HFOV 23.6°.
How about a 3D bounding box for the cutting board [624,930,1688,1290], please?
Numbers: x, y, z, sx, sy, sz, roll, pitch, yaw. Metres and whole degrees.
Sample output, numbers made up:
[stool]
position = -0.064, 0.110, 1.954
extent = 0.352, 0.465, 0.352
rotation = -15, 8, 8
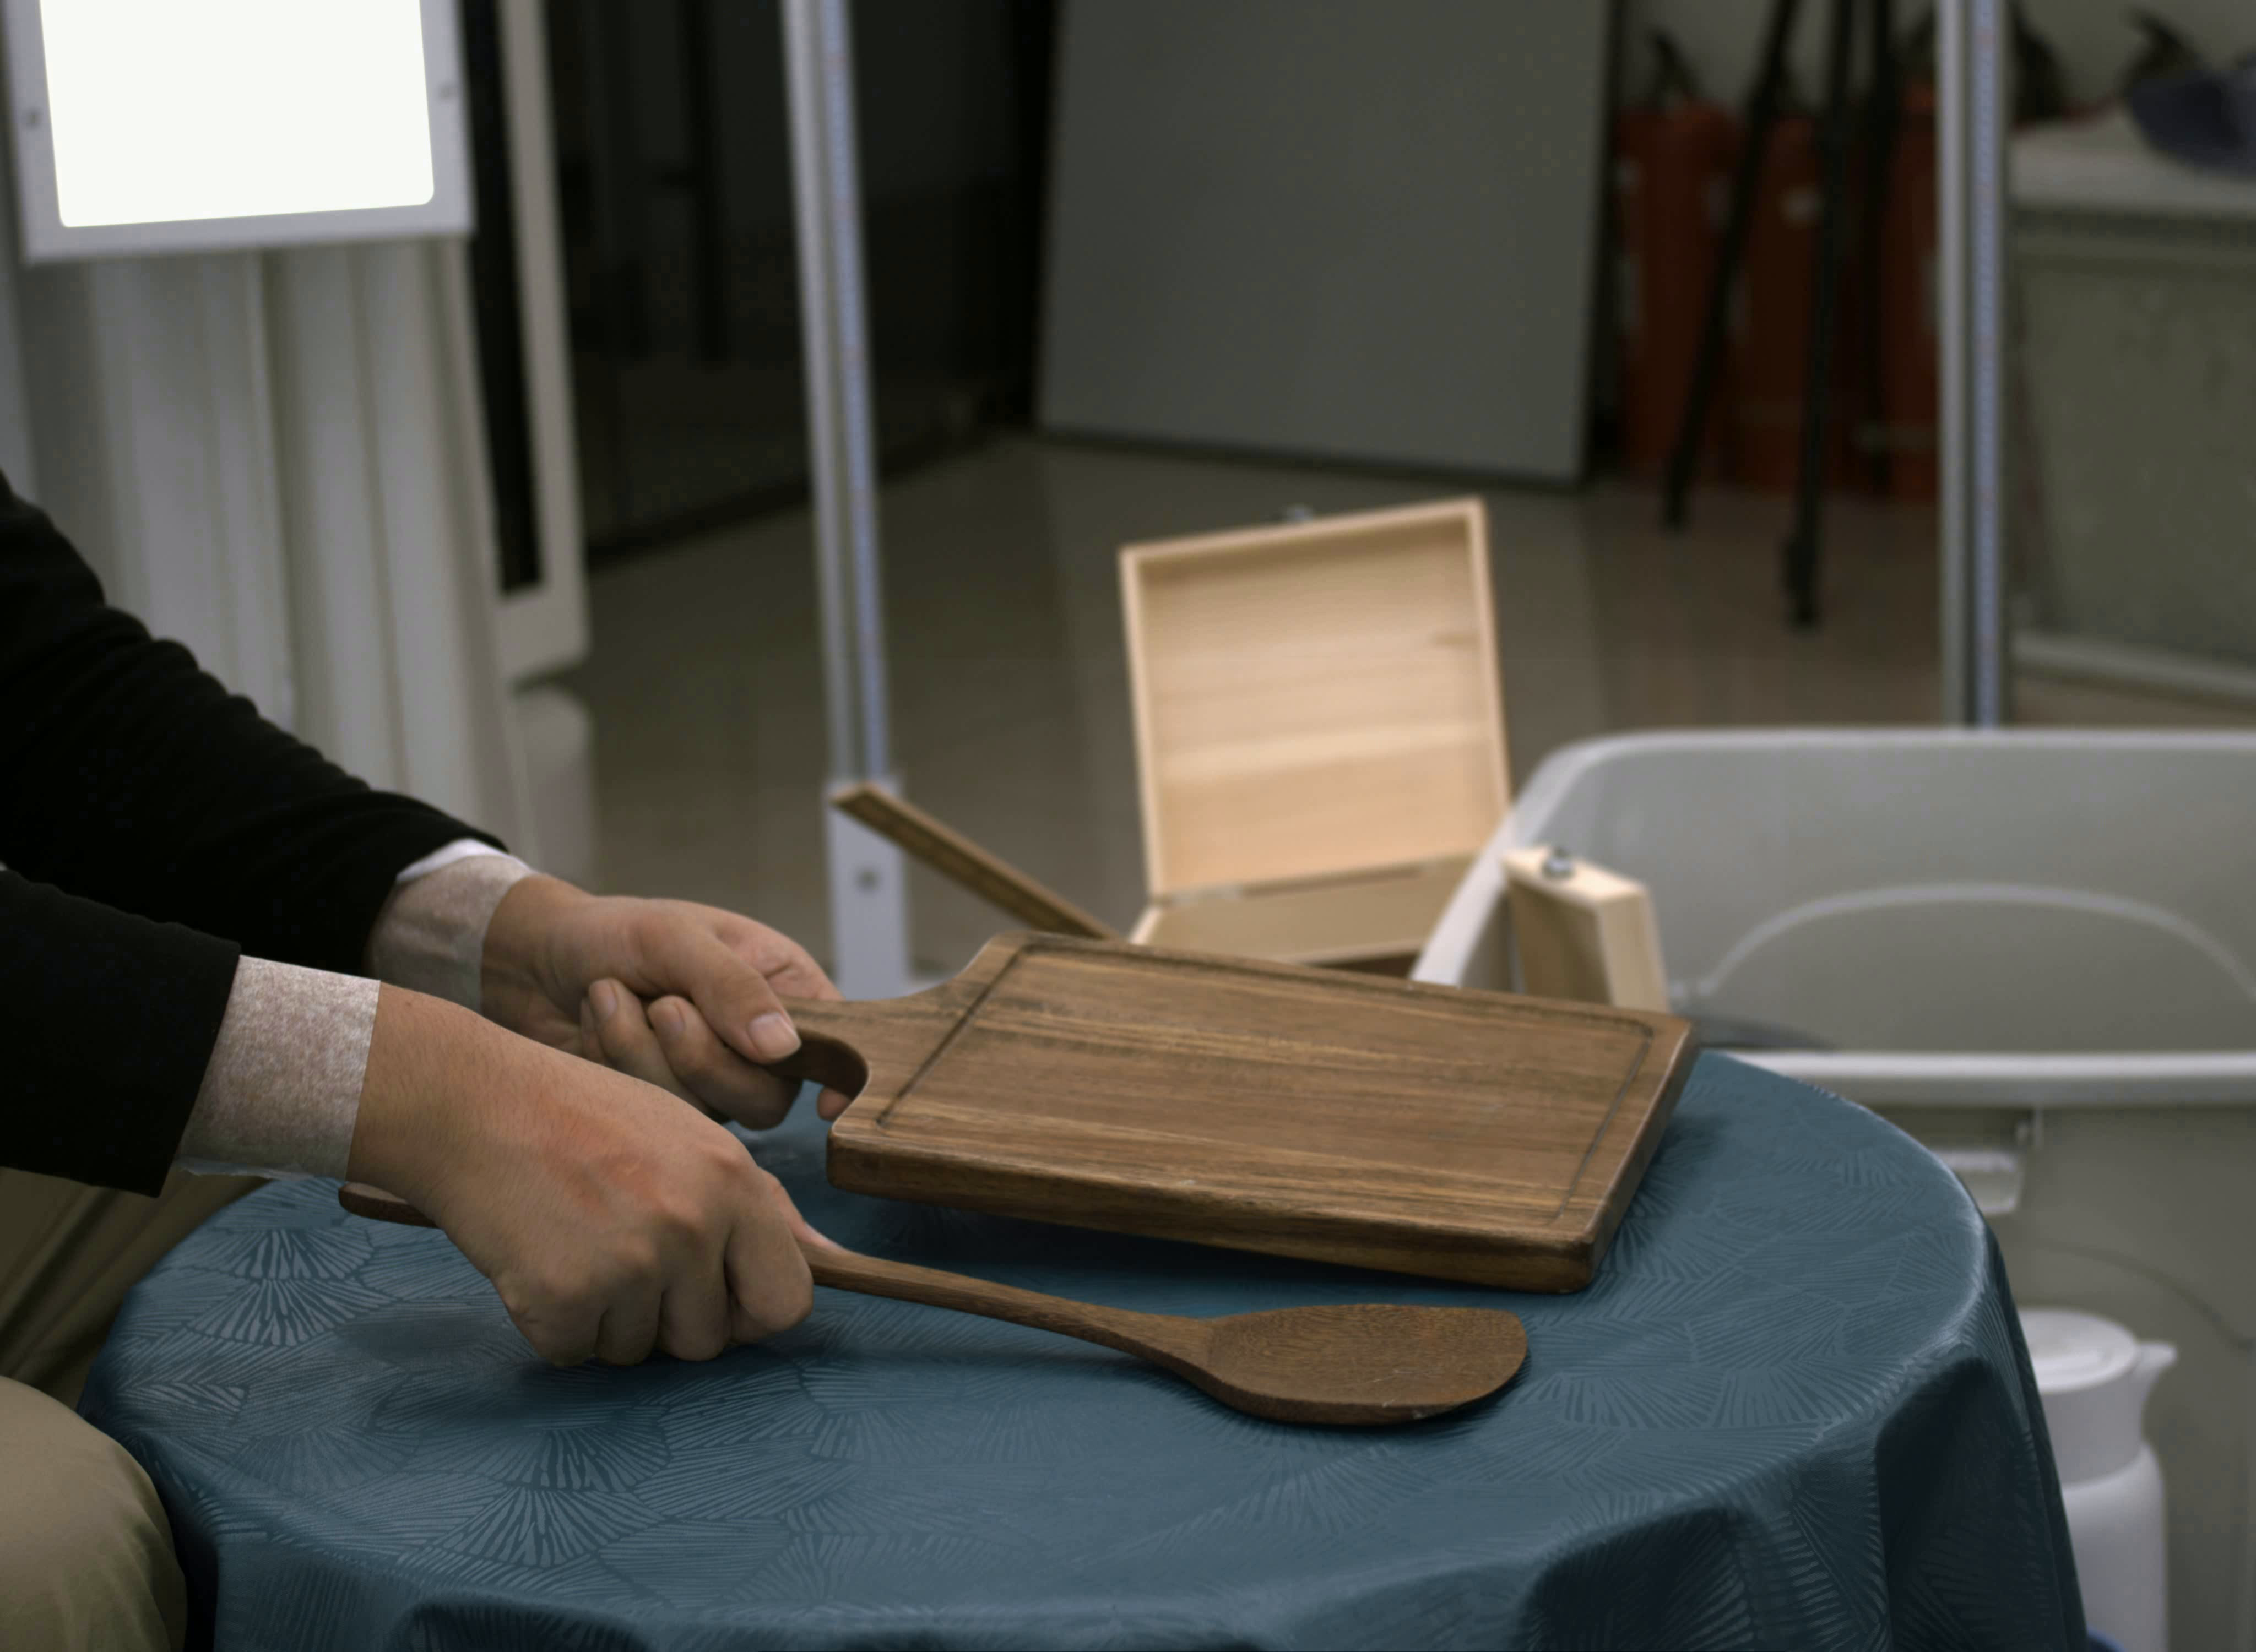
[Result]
[cutting board]
position = 0.000, 0.083, 1.772
extent = 0.351, 0.023, 0.199
rotation = 6, 21, 16

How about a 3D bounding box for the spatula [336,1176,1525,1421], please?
[spatula]
position = -0.067, 0.138, 1.630
extent = 0.385, 0.016, 0.095
rotation = 8, 15, 20
